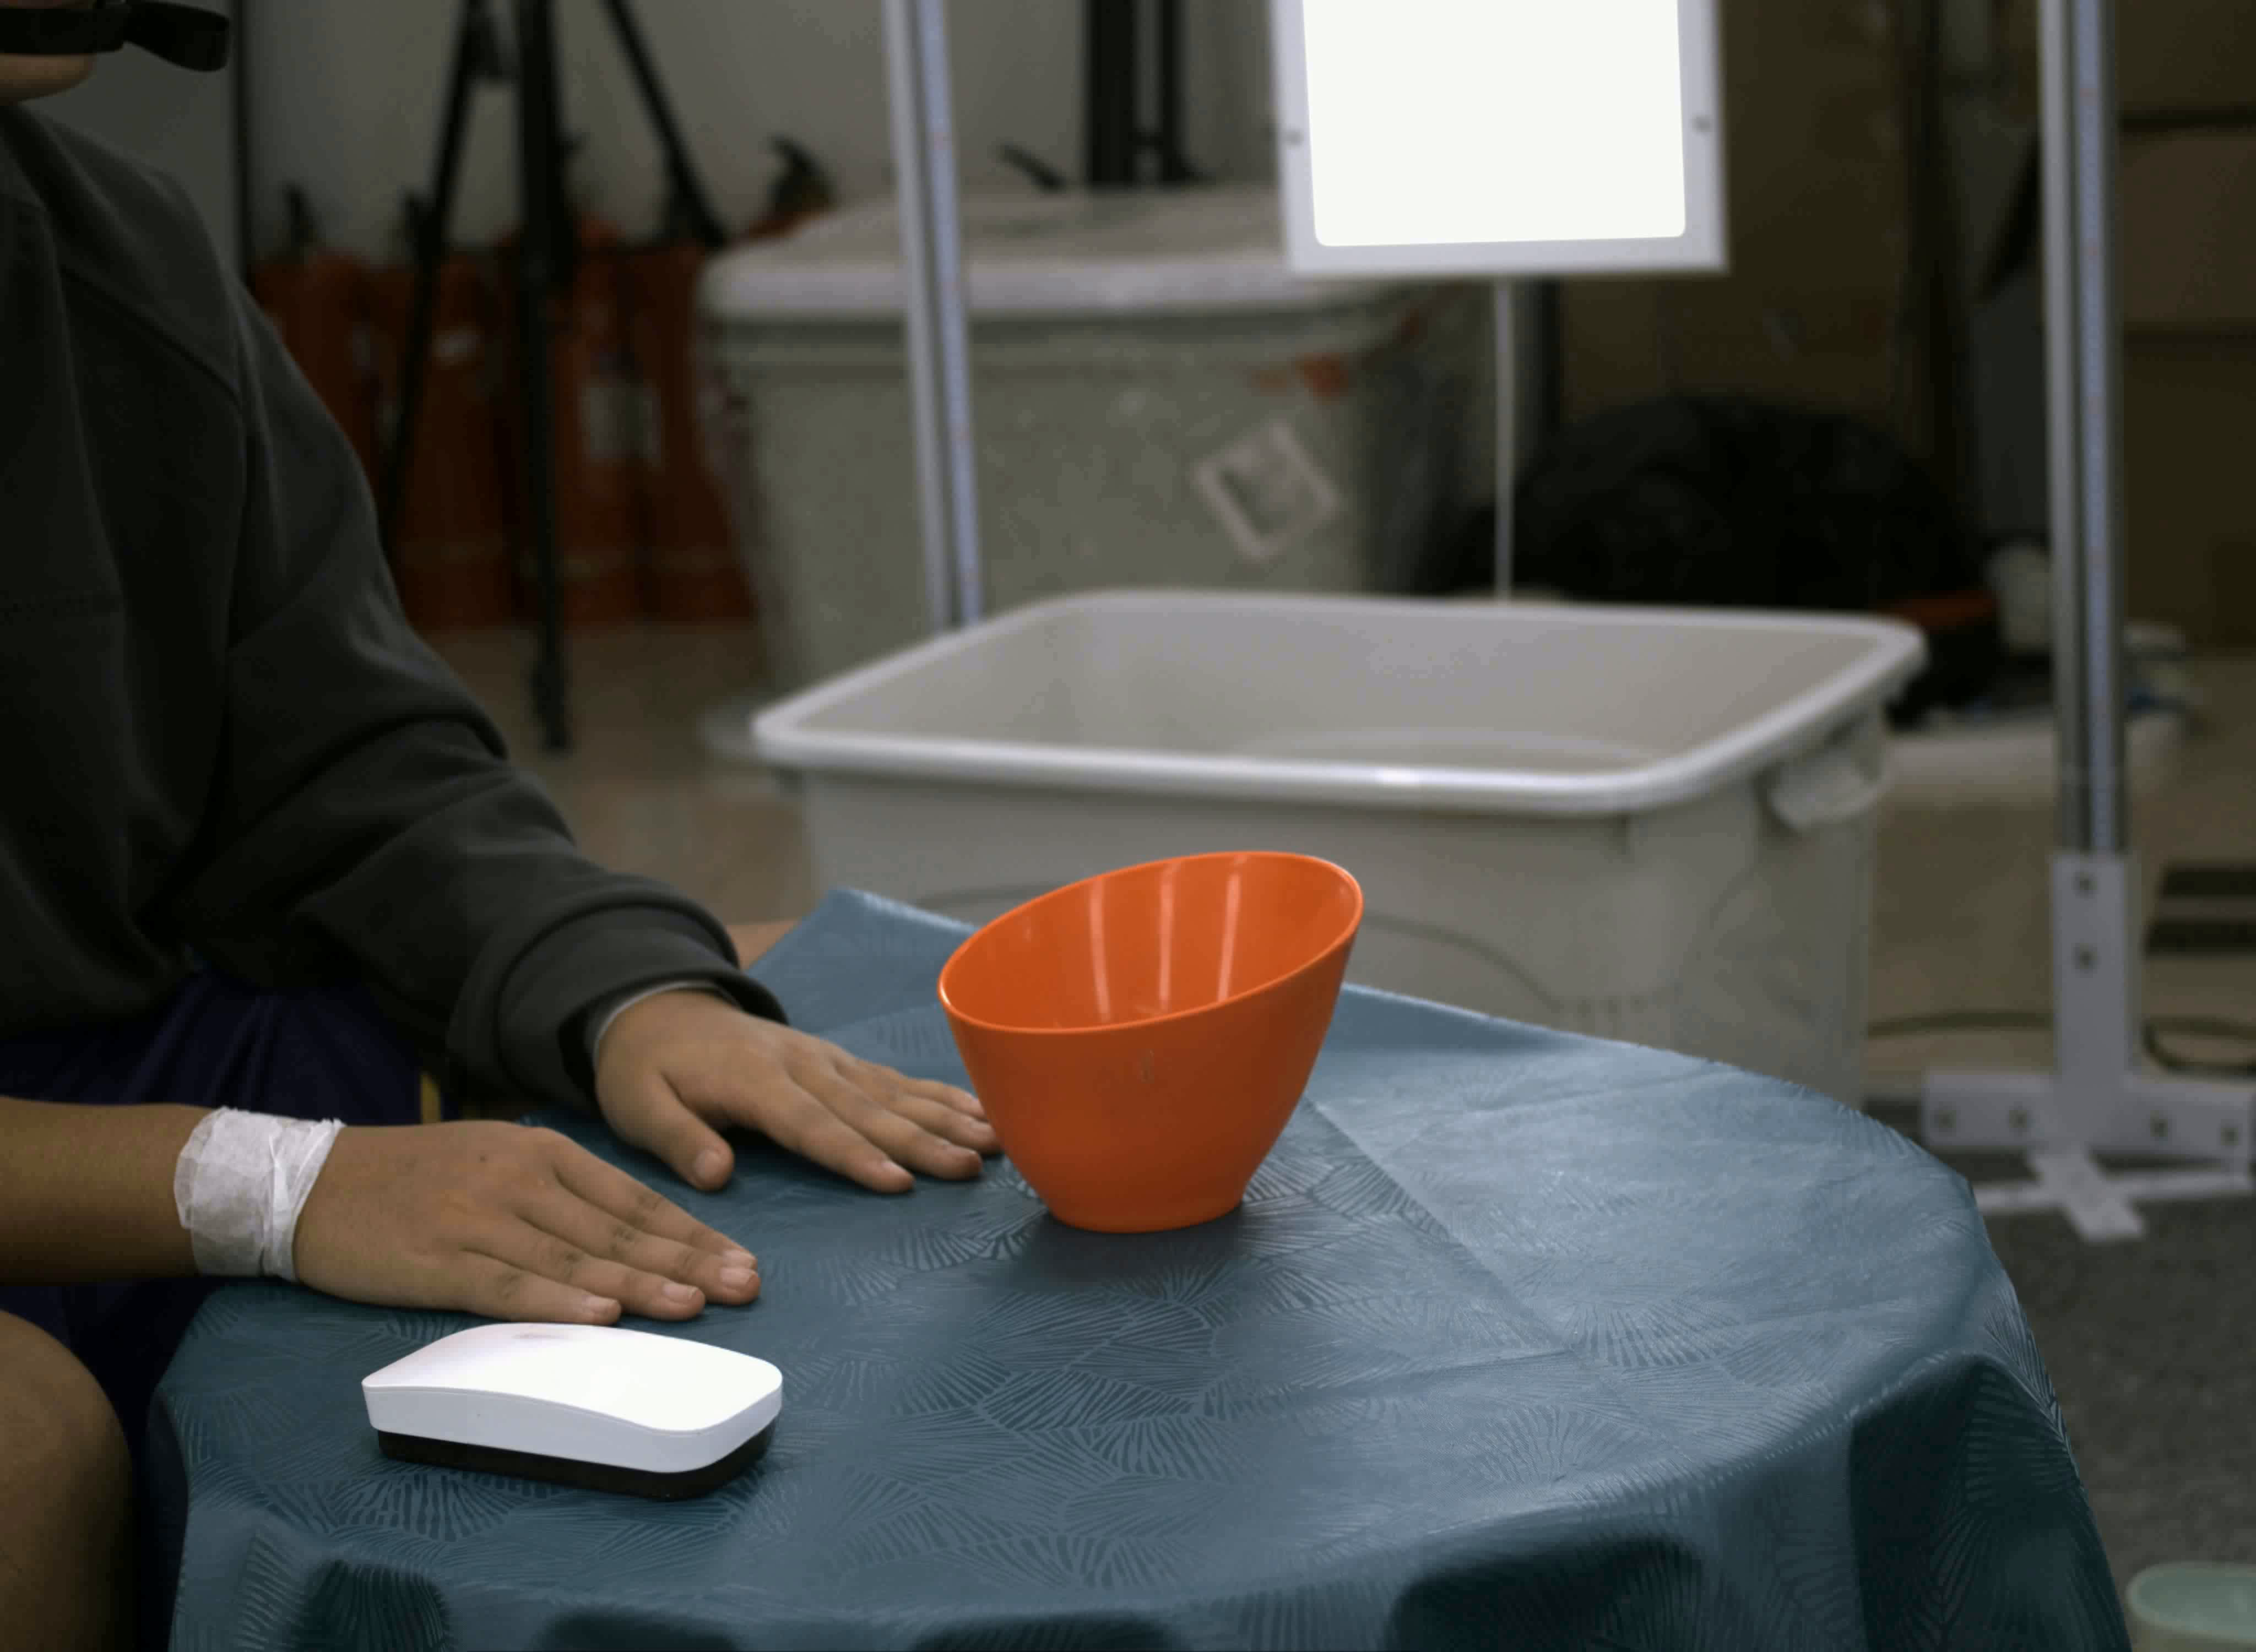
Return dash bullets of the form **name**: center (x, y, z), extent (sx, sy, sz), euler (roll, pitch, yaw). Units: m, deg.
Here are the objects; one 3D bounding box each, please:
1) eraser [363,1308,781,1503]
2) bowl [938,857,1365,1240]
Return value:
- **eraser**: center (-0.169, 0.176, 1.691), extent (0.134, 0.034, 0.062), euler (6, 17, 34)
- **bowl**: center (0.012, 0.079, 1.876), extent (0.147, 0.105, 0.148), euler (-5, 14, 0)
